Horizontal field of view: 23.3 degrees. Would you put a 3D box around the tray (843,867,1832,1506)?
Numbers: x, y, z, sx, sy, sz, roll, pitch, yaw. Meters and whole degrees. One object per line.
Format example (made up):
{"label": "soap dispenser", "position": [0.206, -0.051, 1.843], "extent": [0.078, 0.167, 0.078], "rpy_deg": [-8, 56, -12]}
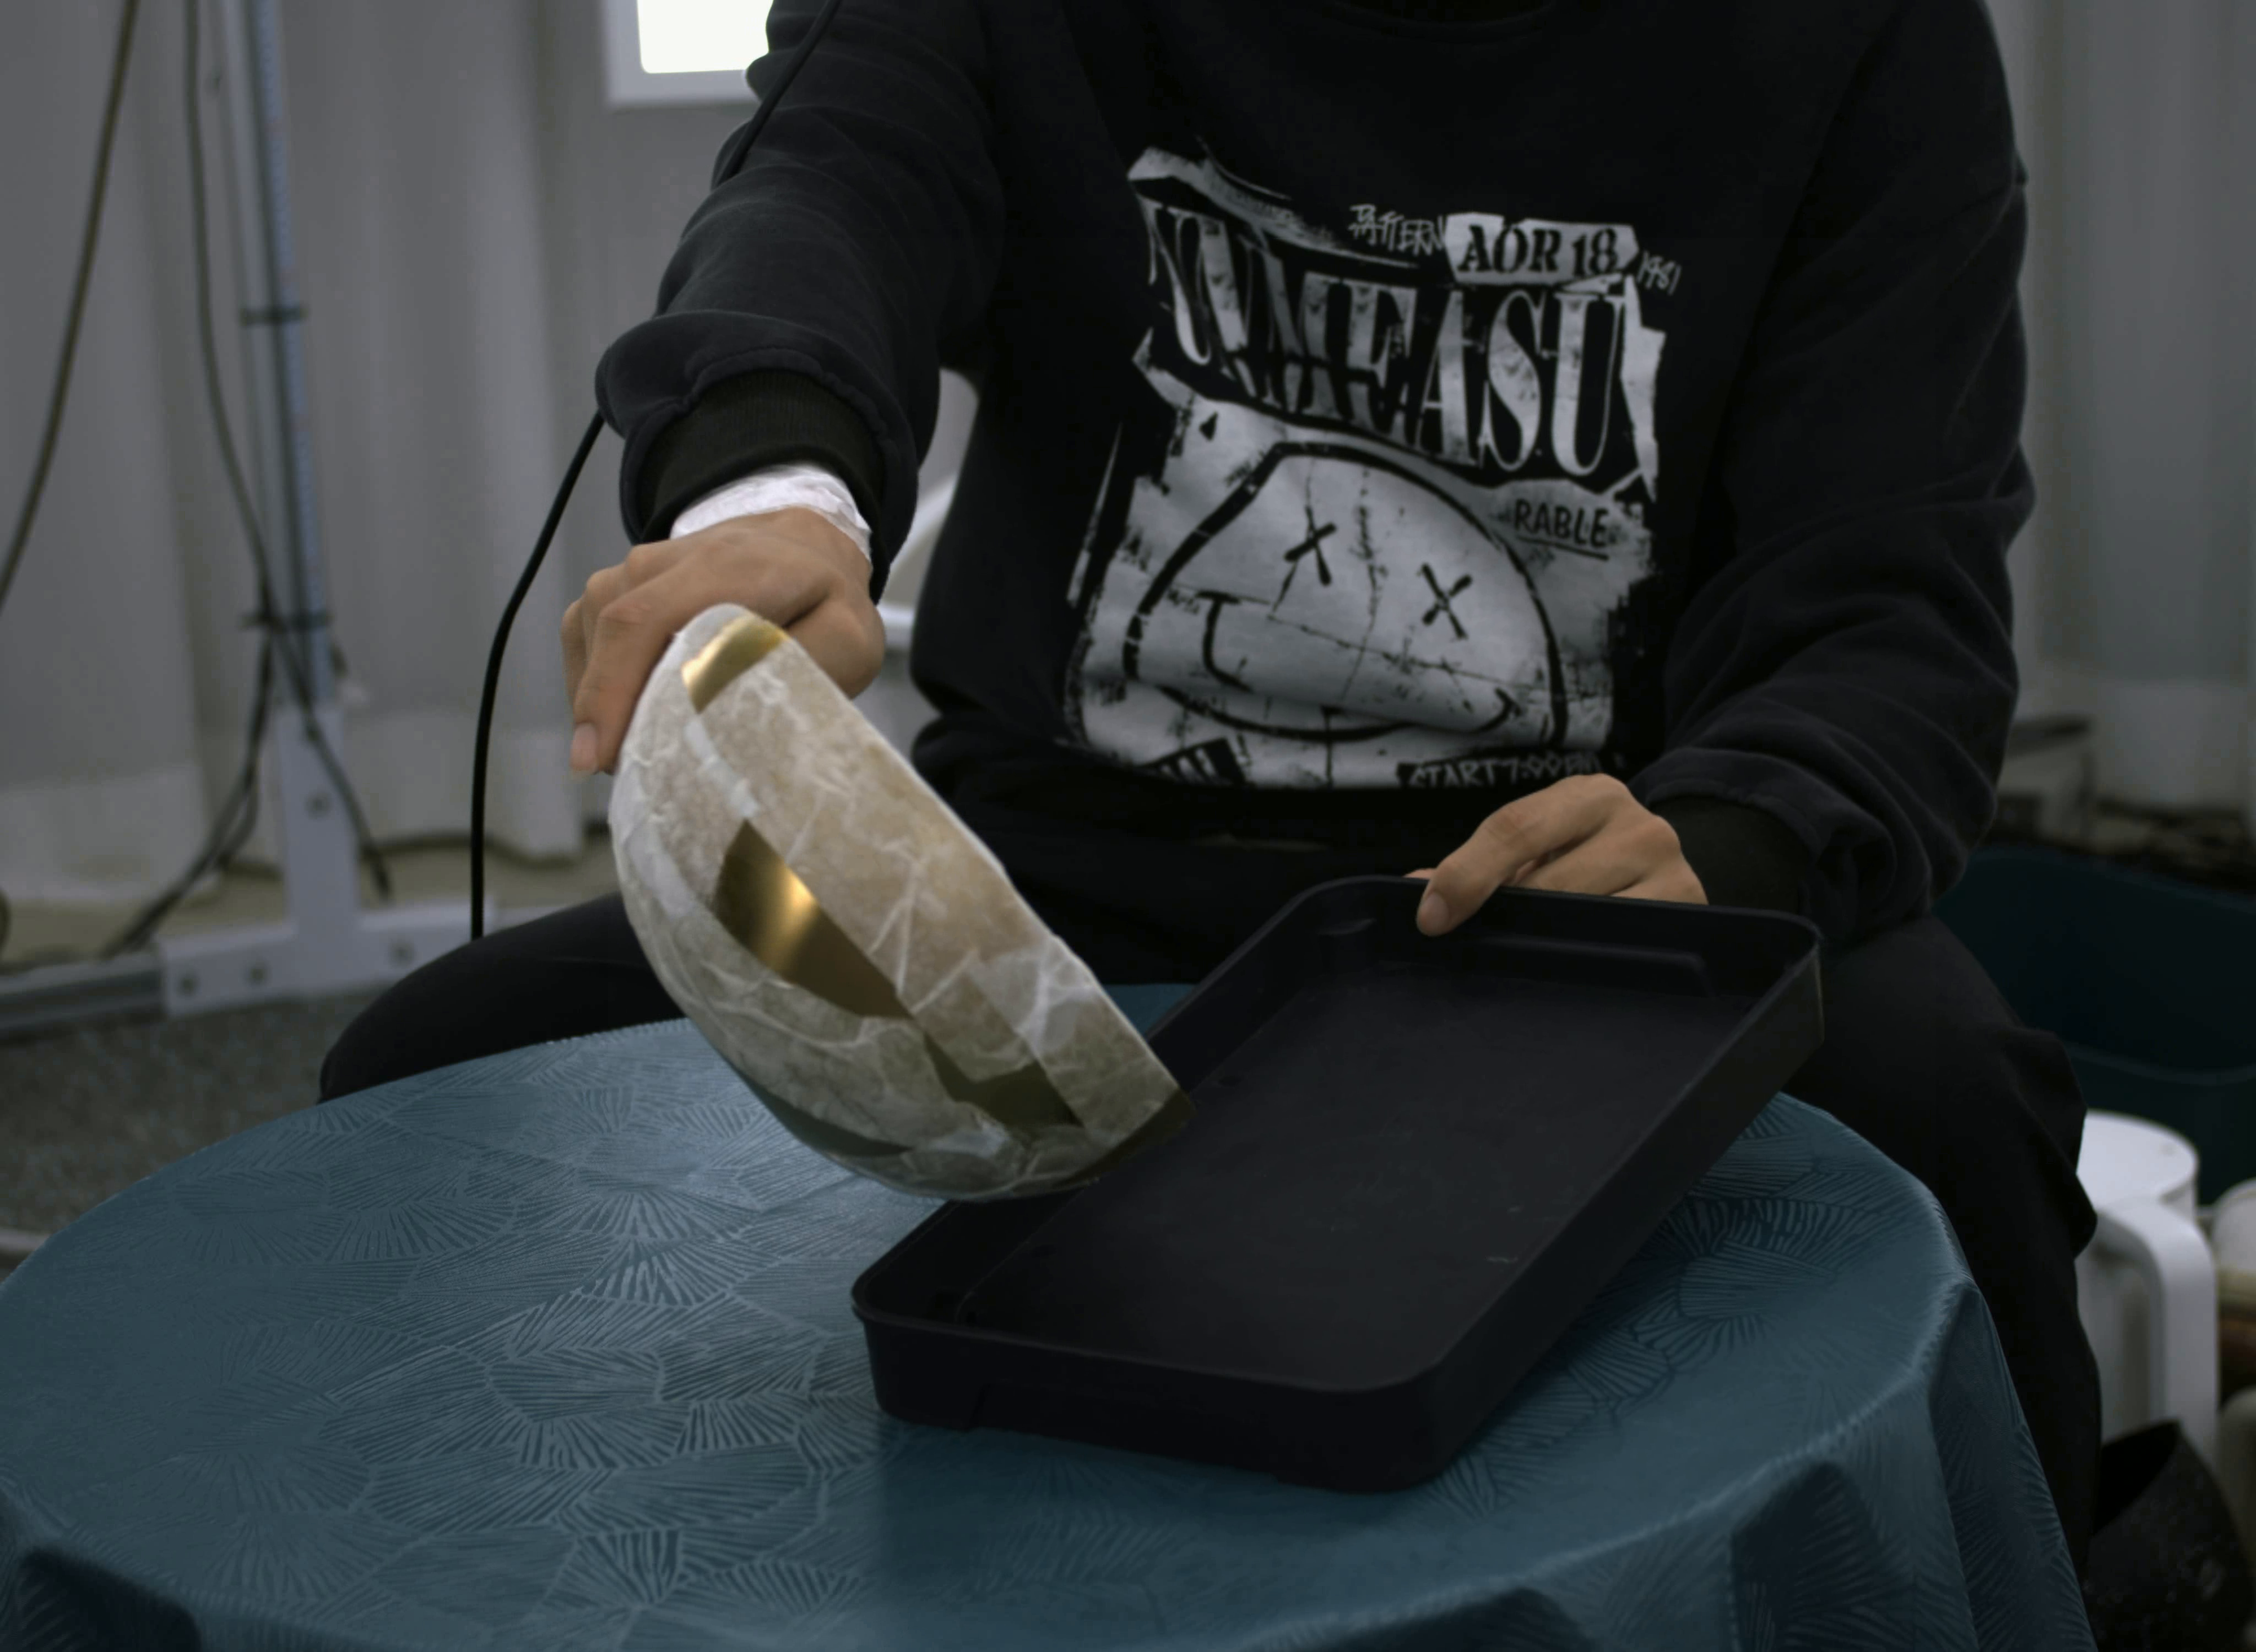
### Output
{"label": "tray", "position": [0.070, 0.098, 1.613], "extent": [0.185, 0.037, 0.319], "rpy_deg": [6, 26, 30]}

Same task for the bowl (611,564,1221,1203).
{"label": "bowl", "position": [-0.078, 0.036, 1.541], "extent": [0.094, 0.213, 0.216], "rpy_deg": [-42, 21, -3]}
